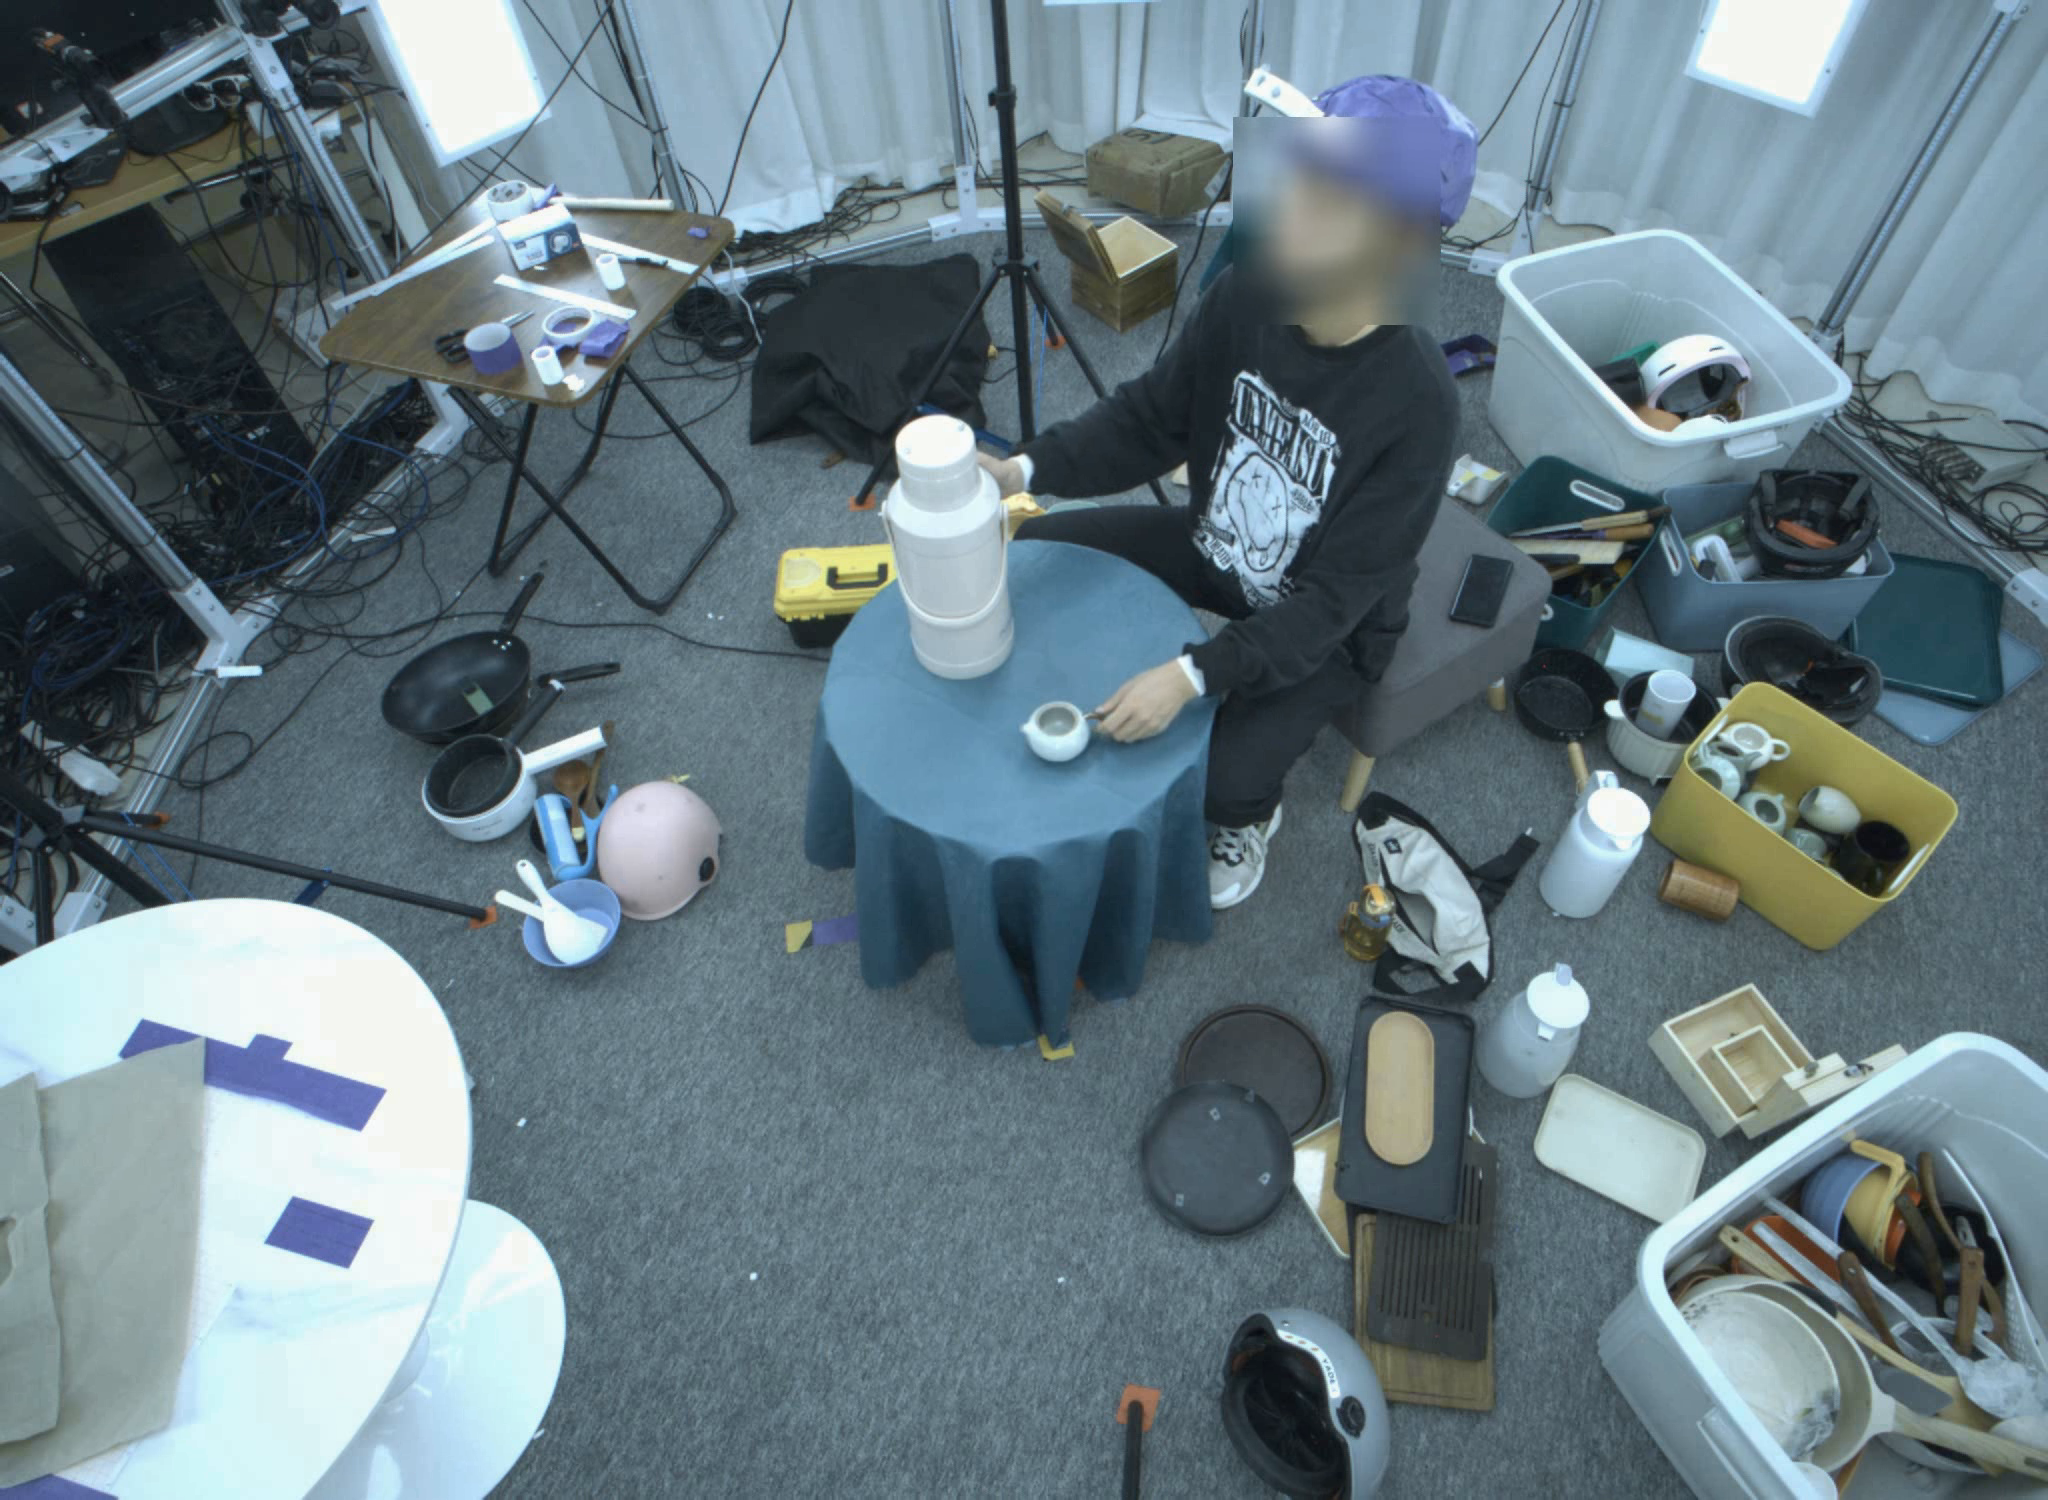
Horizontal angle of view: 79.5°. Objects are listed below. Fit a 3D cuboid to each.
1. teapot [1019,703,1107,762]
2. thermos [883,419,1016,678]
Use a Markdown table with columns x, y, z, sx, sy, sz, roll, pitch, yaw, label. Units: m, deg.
| x | y | z | sx | sy | sz | roll | pitch | yaw | label |
| --- | --- | --- | --- | --- | --- | --- | --- | --- | --- |
| 0.057 | -0.027 | 1.764 | 0.128 | 0.060 | 0.090 | -13 | 51 | -6 | teapot |
| -0.103 | -0.299 | 1.755 | 0.175 | 0.411 | 0.205 | -1 | 55 | 5 | thermos |
